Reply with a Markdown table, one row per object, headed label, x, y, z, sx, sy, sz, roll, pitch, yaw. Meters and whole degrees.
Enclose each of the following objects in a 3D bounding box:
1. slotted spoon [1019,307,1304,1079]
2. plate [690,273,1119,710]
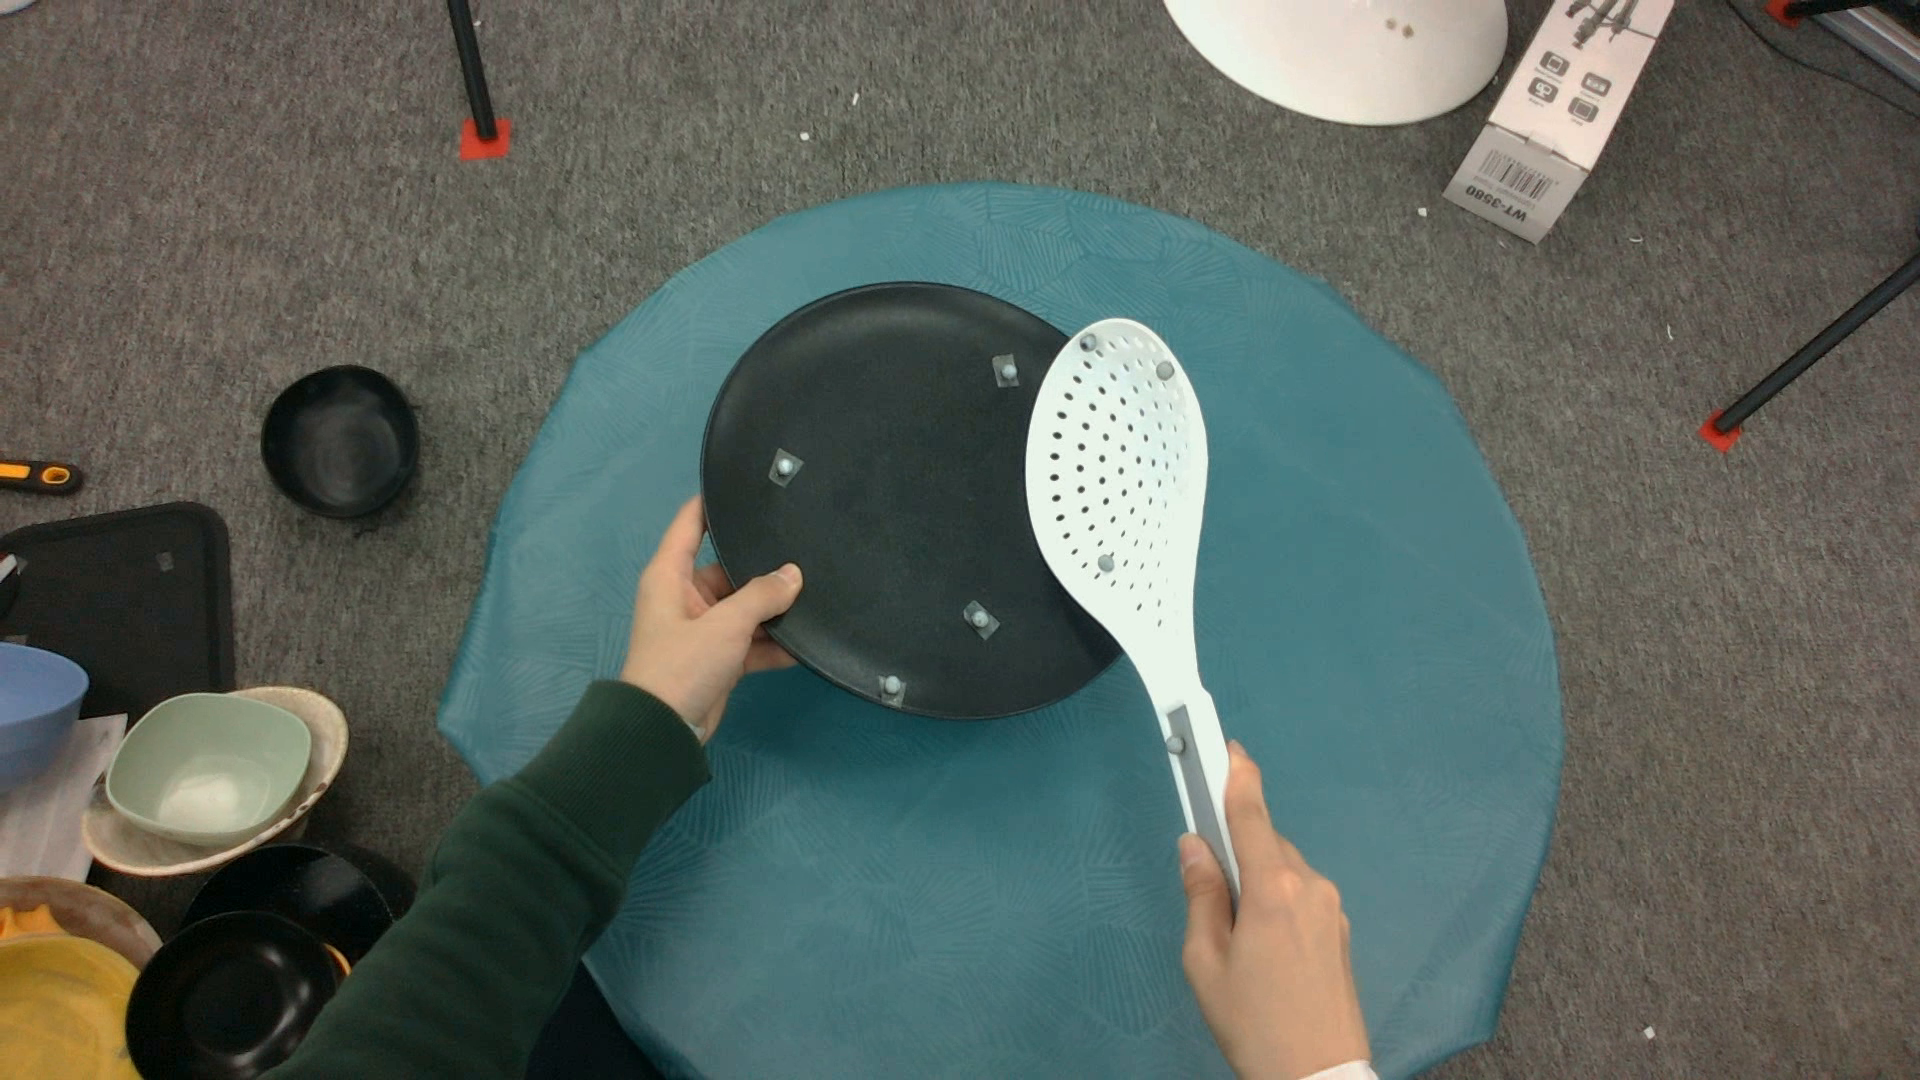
| label | x | y | z | sx | sy | sz | roll | pitch | yaw |
| --- | --- | --- | --- | --- | --- | --- | --- | --- | --- |
| slotted spoon | 0.092 | 0.056 | 0.617 | 0.046 | 0.135 | 0.351 | 5 | 63 | -27 |
| plate | -0.015 | -0.028 | 0.697 | 0.244 | 0.023 | 0.245 | 7 | 64 | -14 |
